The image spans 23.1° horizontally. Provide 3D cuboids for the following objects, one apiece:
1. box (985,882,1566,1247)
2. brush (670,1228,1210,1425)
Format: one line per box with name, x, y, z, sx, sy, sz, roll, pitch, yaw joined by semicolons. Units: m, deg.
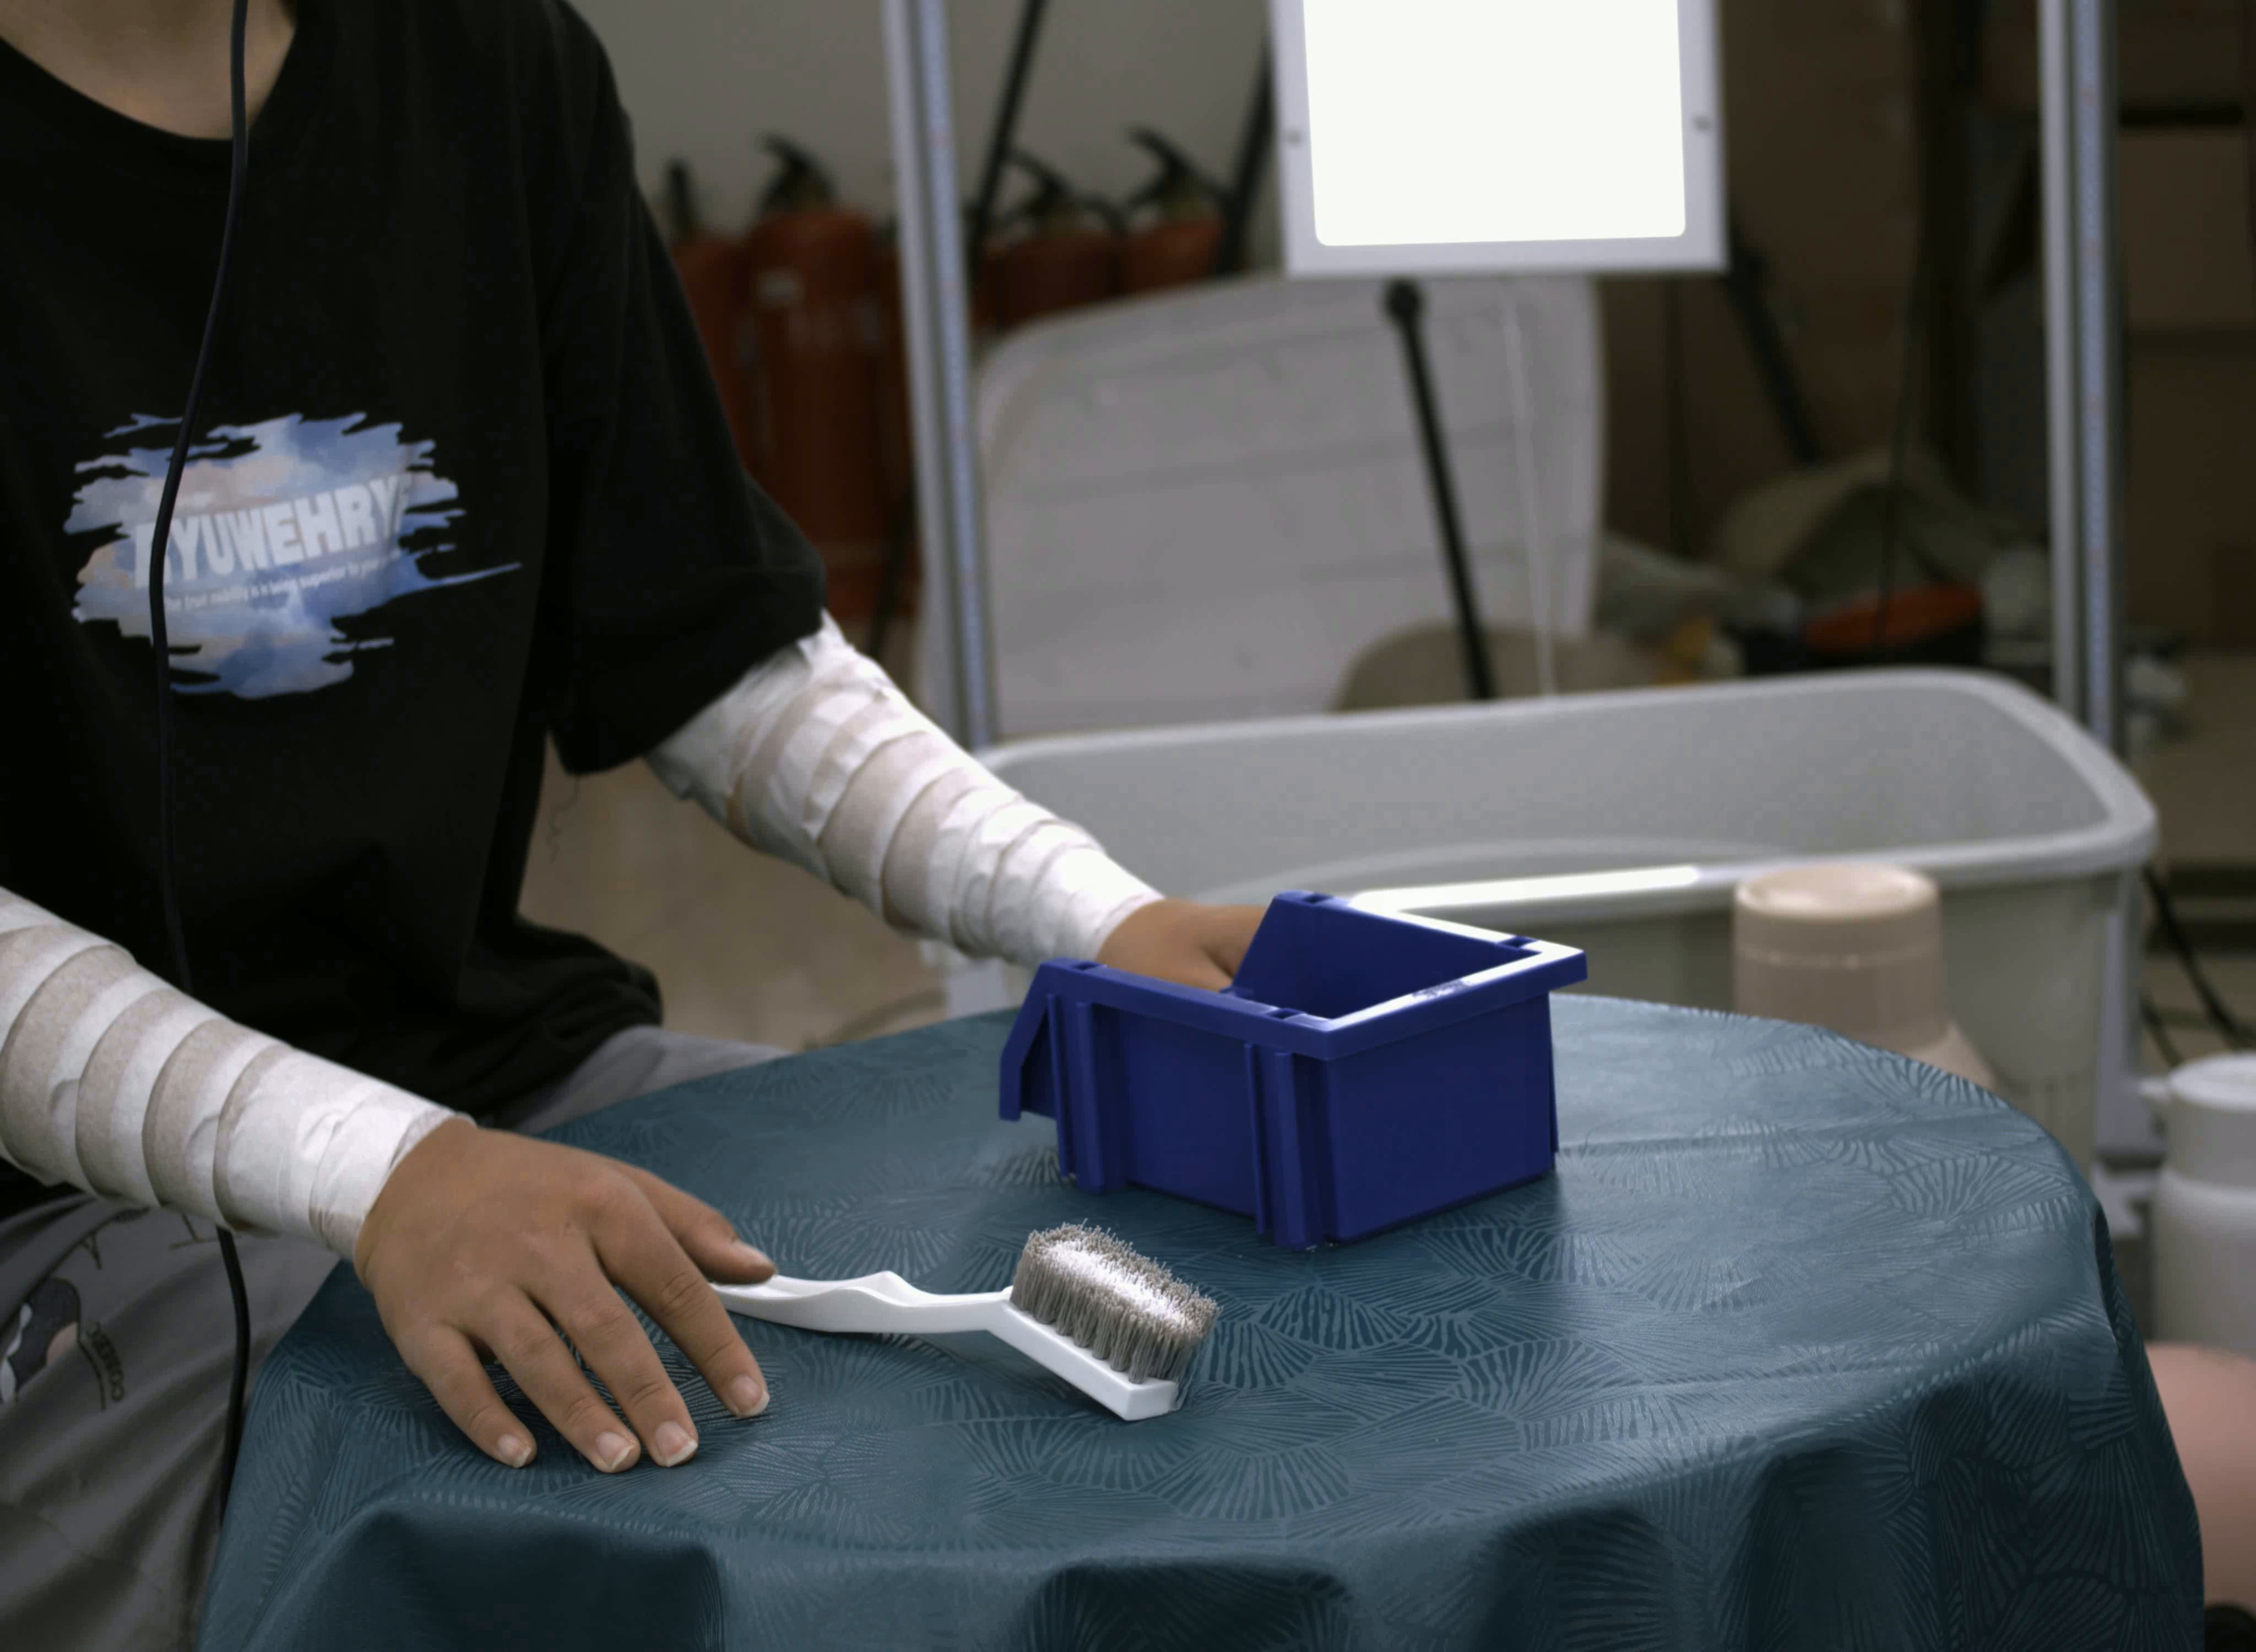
box;0.048;0.079;1.903;0.121;0.082;0.183;-15;18;-35
brush;-0.066;0.142;1.753;0.033;0.050;0.249;-16;18;-40
